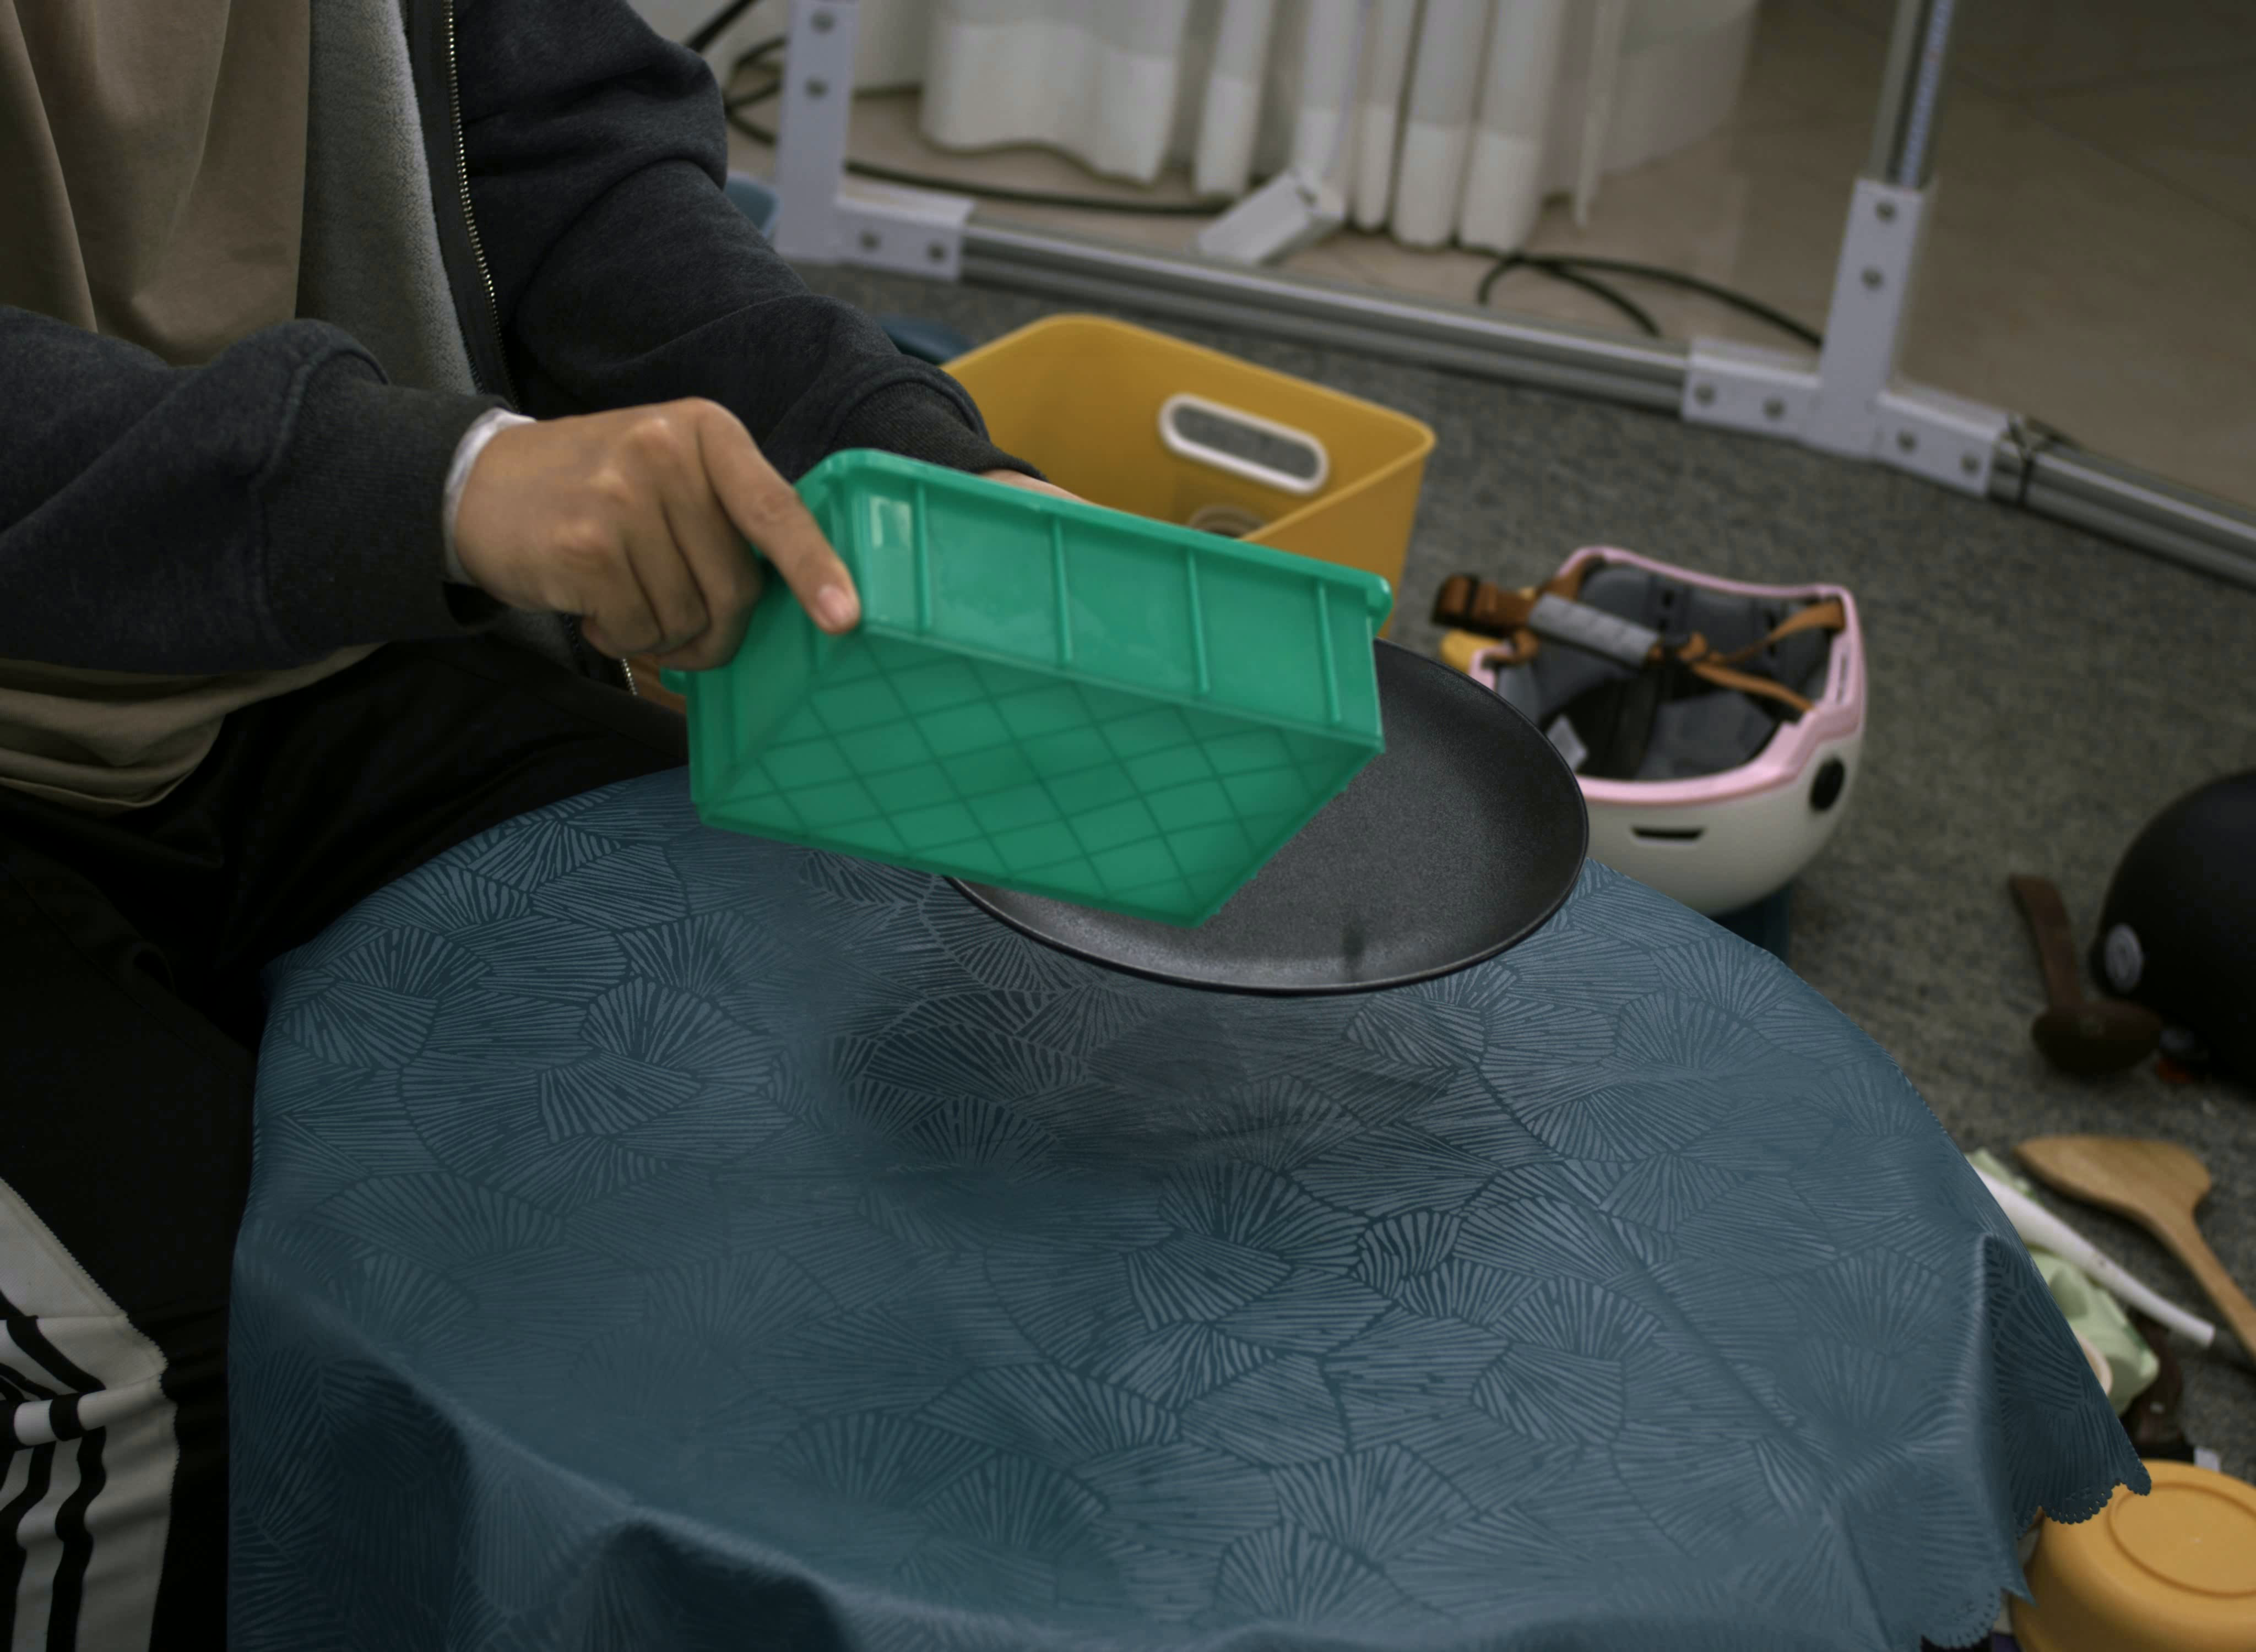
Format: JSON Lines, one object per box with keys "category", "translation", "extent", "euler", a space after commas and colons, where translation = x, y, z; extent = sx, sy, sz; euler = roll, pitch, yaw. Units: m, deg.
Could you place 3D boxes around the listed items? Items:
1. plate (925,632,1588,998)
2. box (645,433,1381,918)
{"category": "plate", "translation": [0.039, -0.005, 1.868], "extent": [0.243, 0.023, 0.246], "euler": [3, 34, -3]}
{"category": "box", "translation": [-0.033, -0.040, 1.648], "extent": [0.209, 0.138, 0.066], "euler": [12, 52, -28]}
